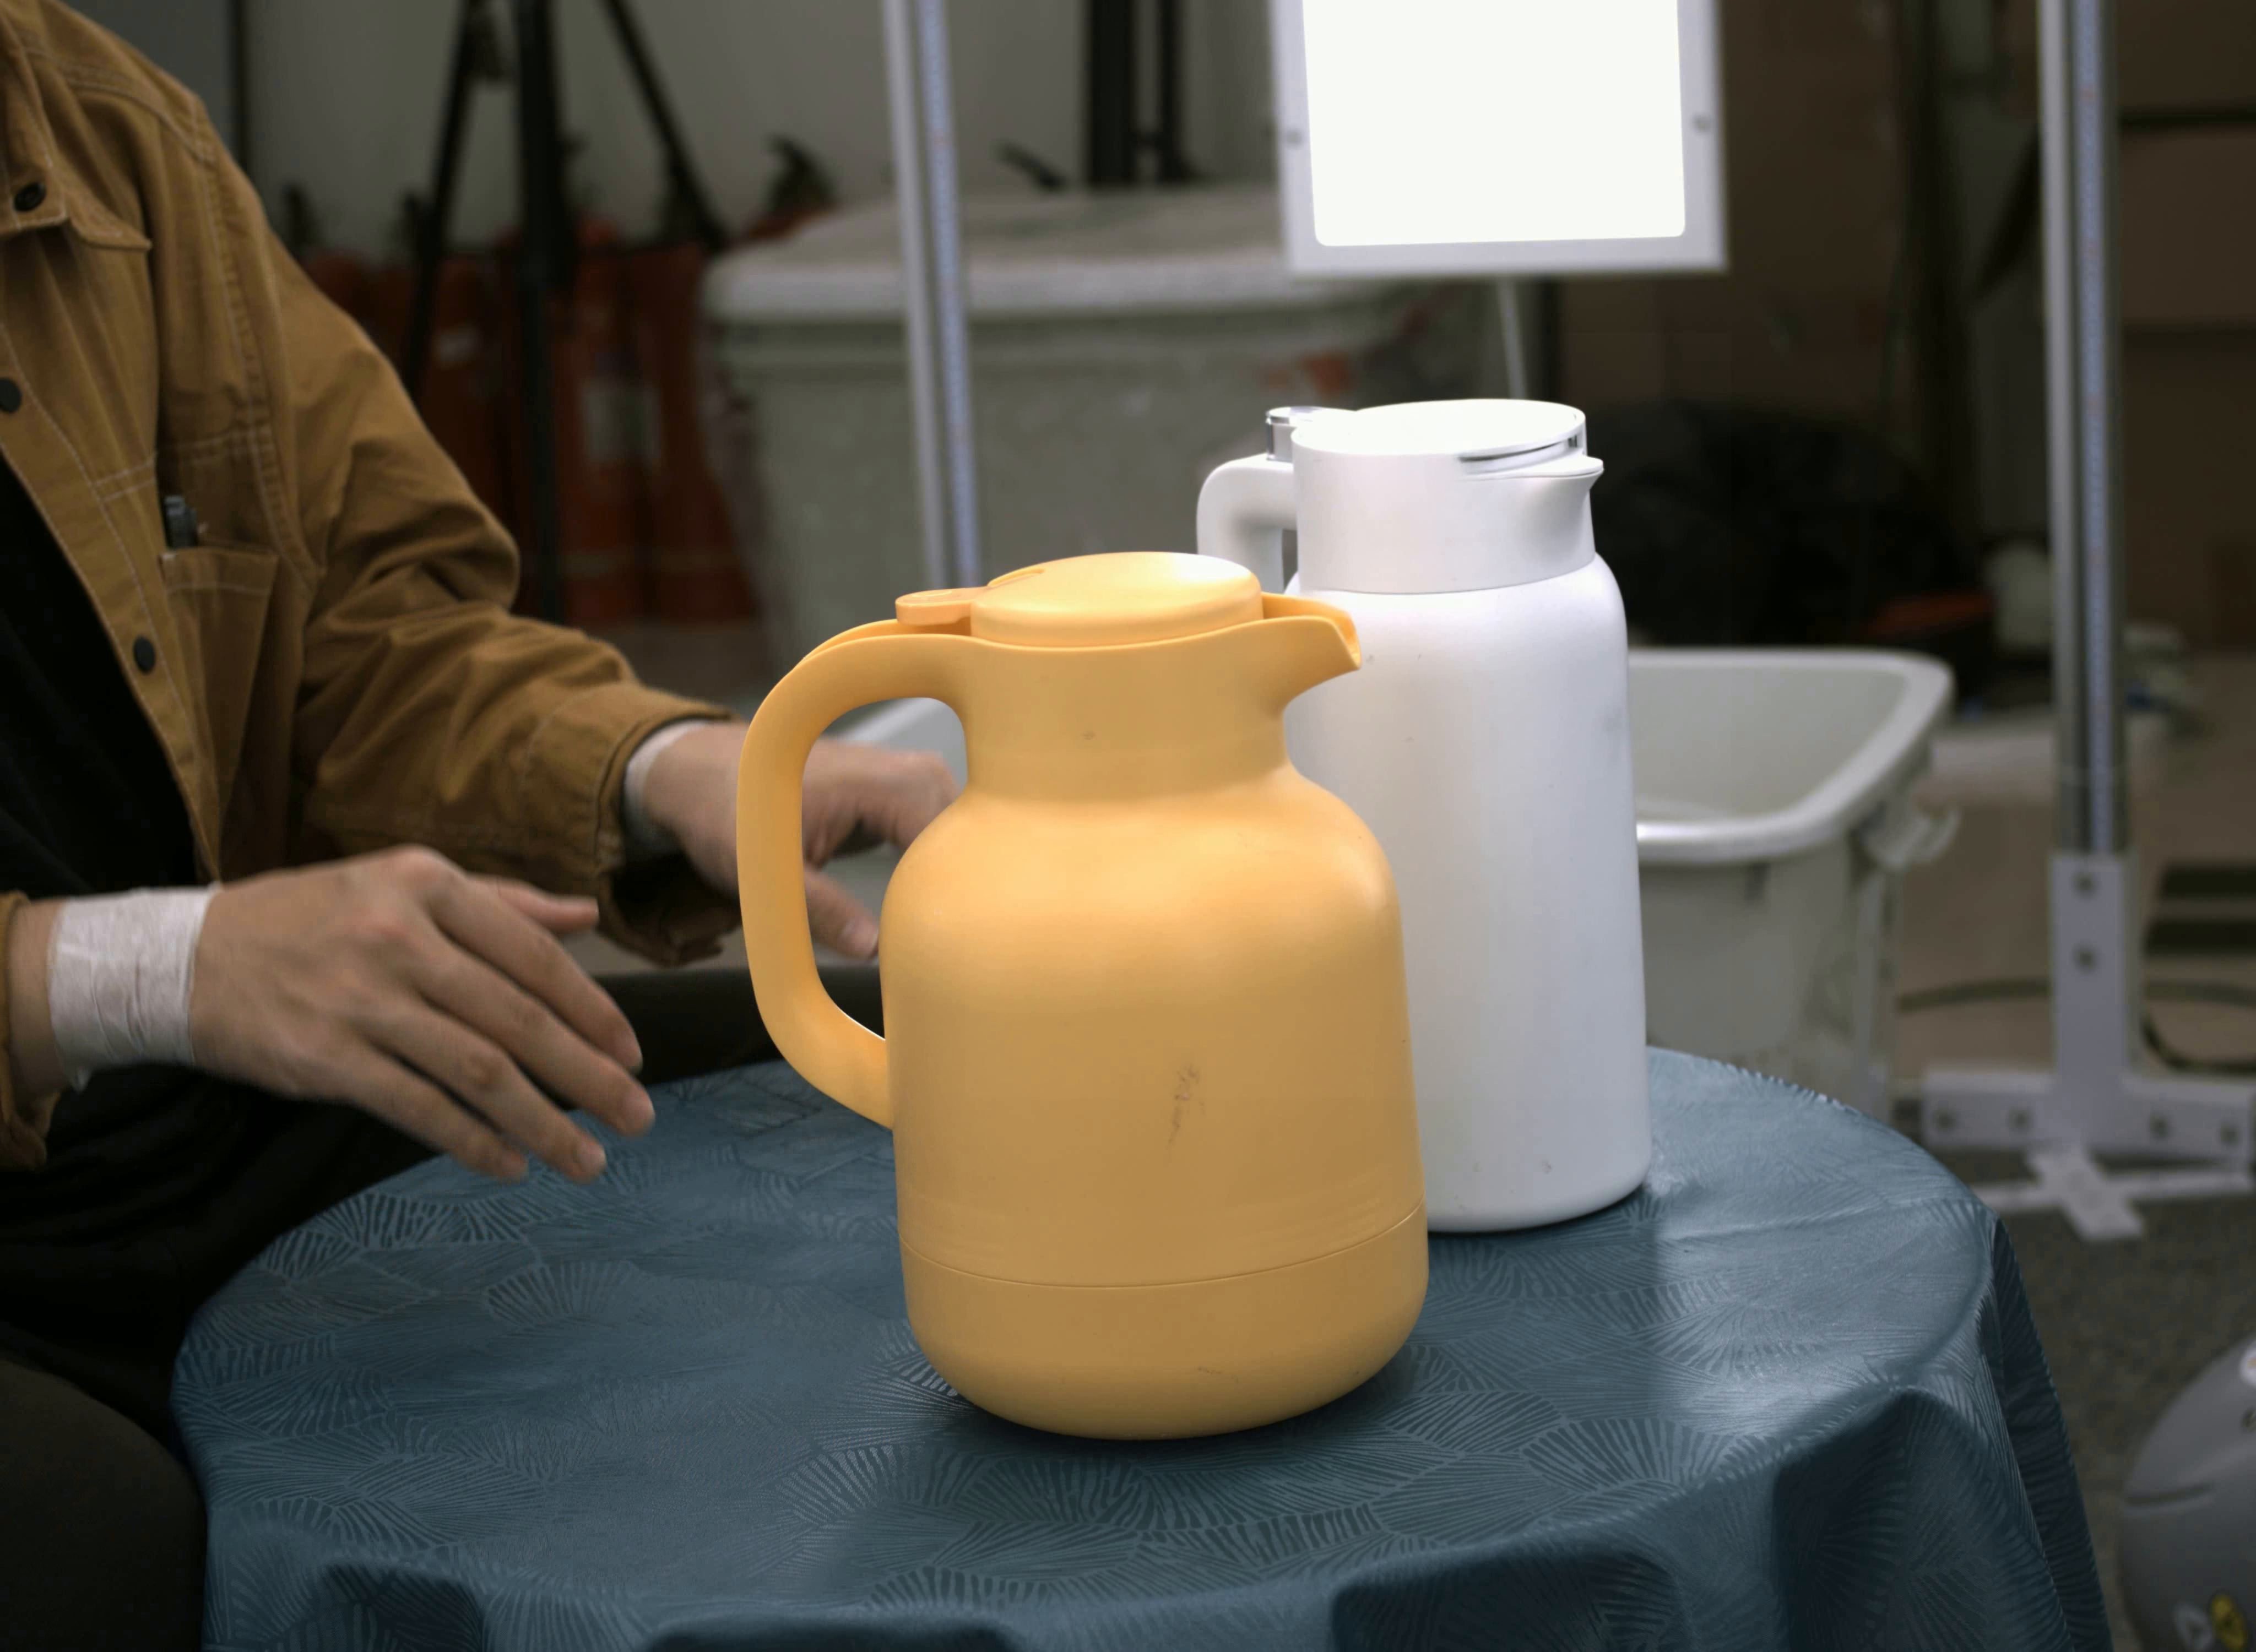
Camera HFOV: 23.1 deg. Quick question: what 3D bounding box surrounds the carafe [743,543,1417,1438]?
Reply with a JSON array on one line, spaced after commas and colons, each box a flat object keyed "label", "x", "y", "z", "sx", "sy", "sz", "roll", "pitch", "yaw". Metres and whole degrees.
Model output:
[{"label": "carafe", "x": -0.015, "y": 0.046, "z": 1.681, "sx": 0.204, "sy": 0.261, "sz": 0.161, "roll": 0, "pitch": 11, "yaw": 14}]

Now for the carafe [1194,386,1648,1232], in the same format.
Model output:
[{"label": "carafe", "x": 0.097, "y": -0.008, "z": 1.848, "sx": 0.121, "sy": 0.270, "sz": 0.176, "roll": -20, "pitch": 20, "yaw": -41}]
